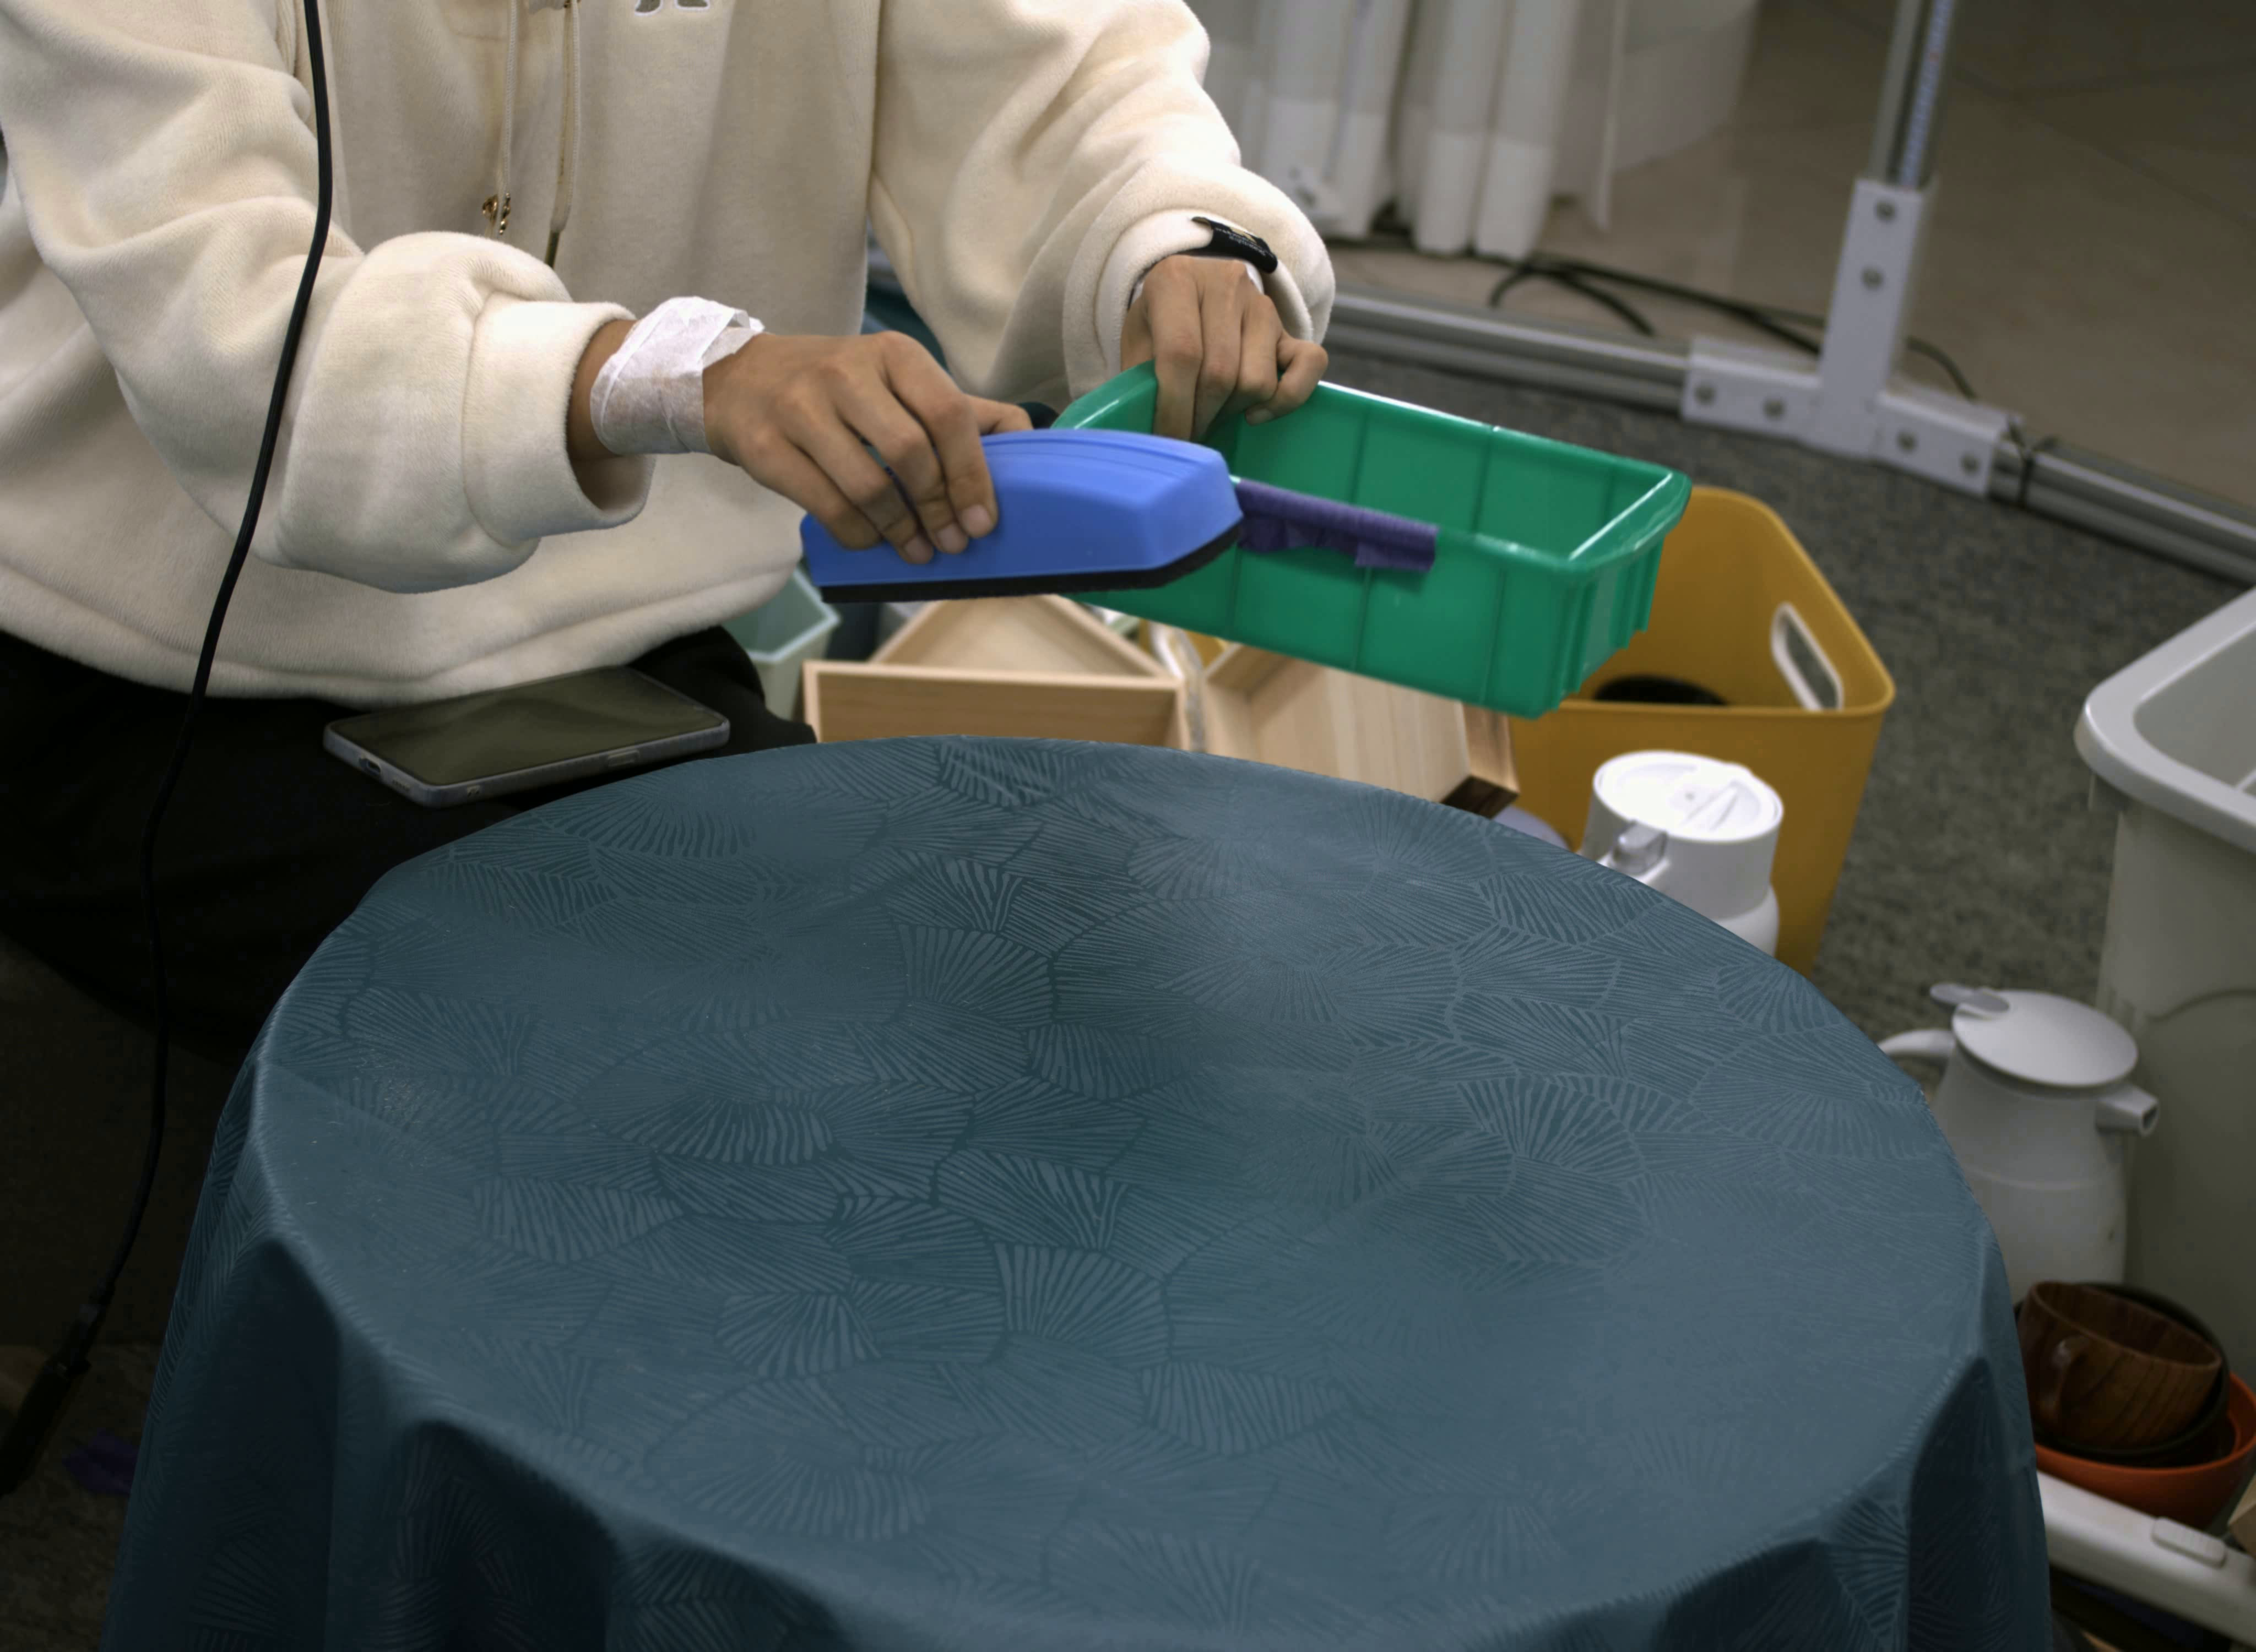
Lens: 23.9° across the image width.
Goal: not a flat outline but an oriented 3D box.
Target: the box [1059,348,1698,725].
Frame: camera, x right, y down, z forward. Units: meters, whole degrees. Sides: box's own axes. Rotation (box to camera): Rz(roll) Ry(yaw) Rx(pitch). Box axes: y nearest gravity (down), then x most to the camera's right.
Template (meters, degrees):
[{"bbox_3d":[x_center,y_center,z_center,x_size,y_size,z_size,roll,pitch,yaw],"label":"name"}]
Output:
[{"bbox_3d":[0.084,-0.101,1.866,0.211,0.065,0.138,16,24,16],"label":"box"}]

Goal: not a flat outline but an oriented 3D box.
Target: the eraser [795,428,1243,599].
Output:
[{"bbox_3d":[-0.040,-0.108,1.812,0.163,0.047,0.054,-1,21,36],"label":"eraser"}]
